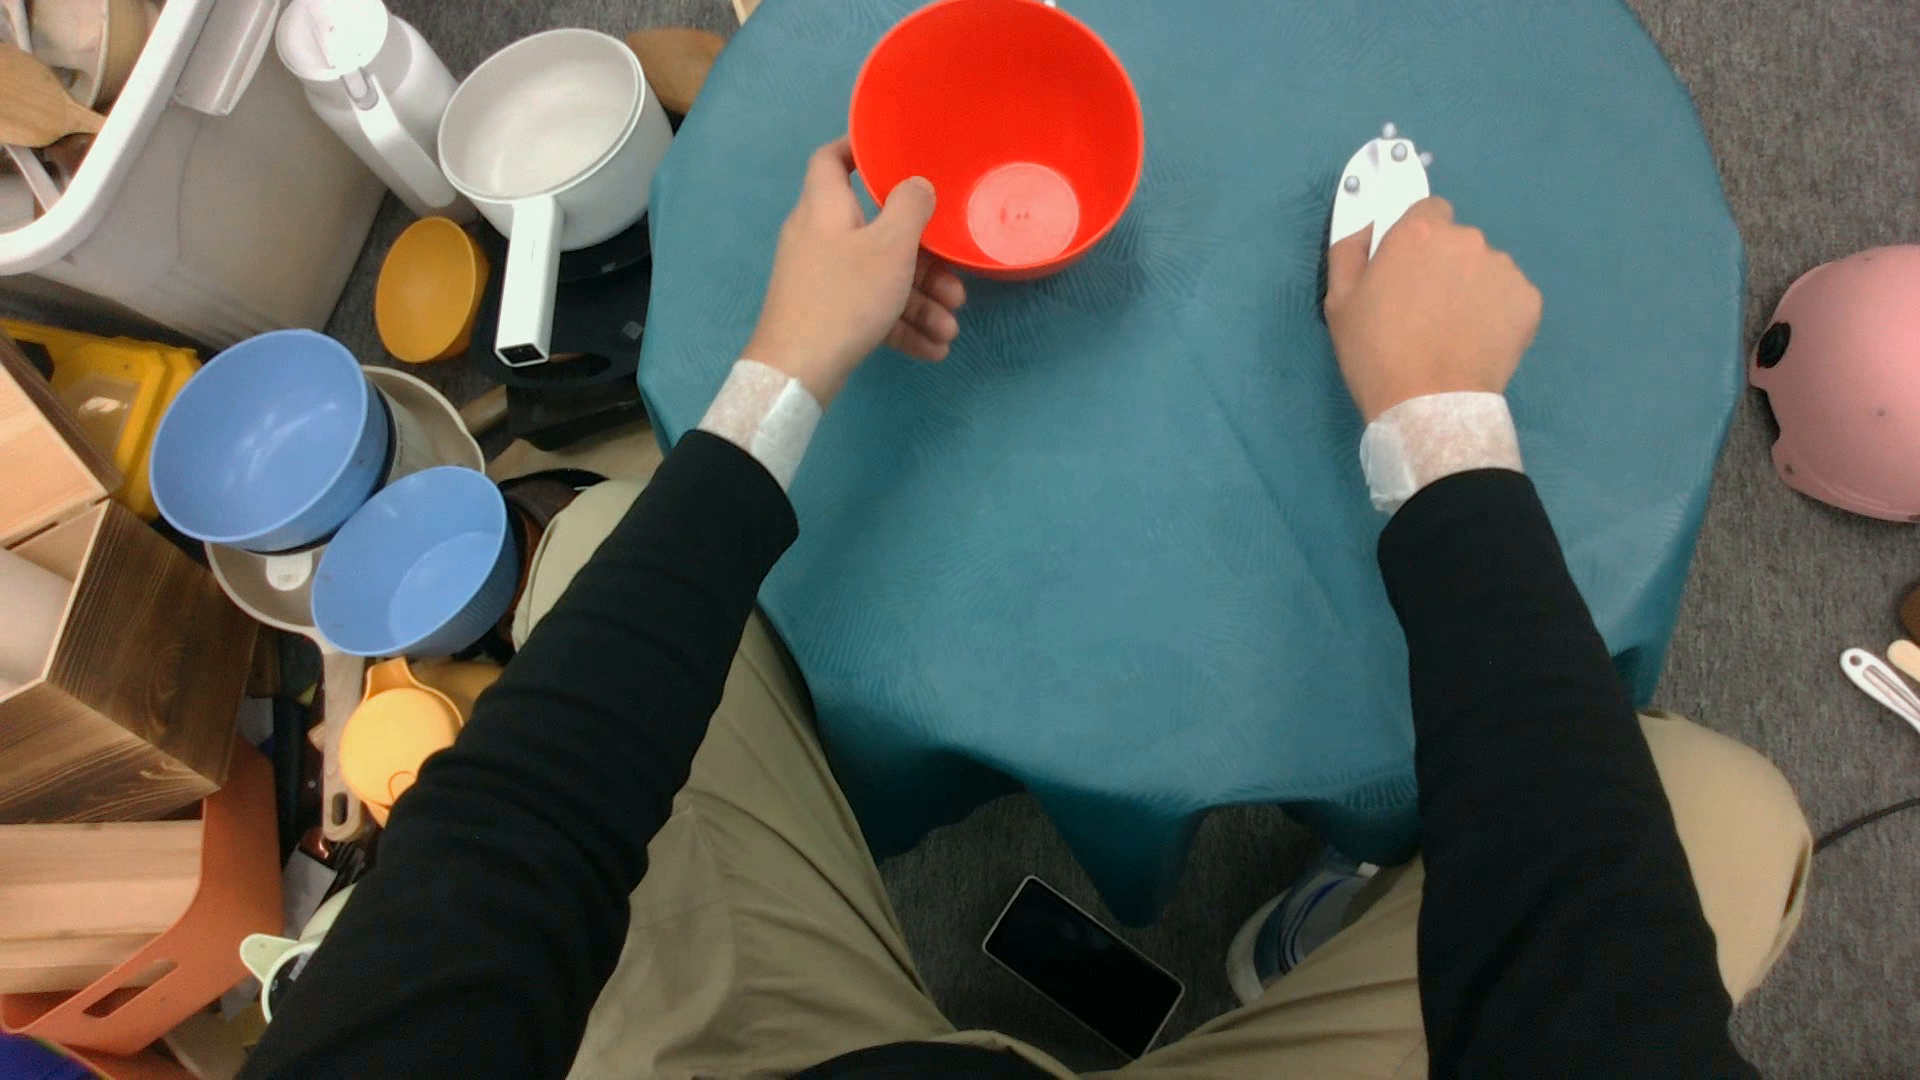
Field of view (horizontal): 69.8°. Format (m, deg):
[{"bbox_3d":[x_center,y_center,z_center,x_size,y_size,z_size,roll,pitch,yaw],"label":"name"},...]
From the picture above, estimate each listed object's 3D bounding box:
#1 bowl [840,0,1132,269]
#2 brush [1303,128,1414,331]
[{"bbox_3d":[0.017,-0.204,0.734,0.148,0.104,0.148,-1,78,3],"label":"bowl"},{"bbox_3d":[0.214,-0.169,0.726,0.050,0.072,0.099,9,77,5],"label":"brush"}]
